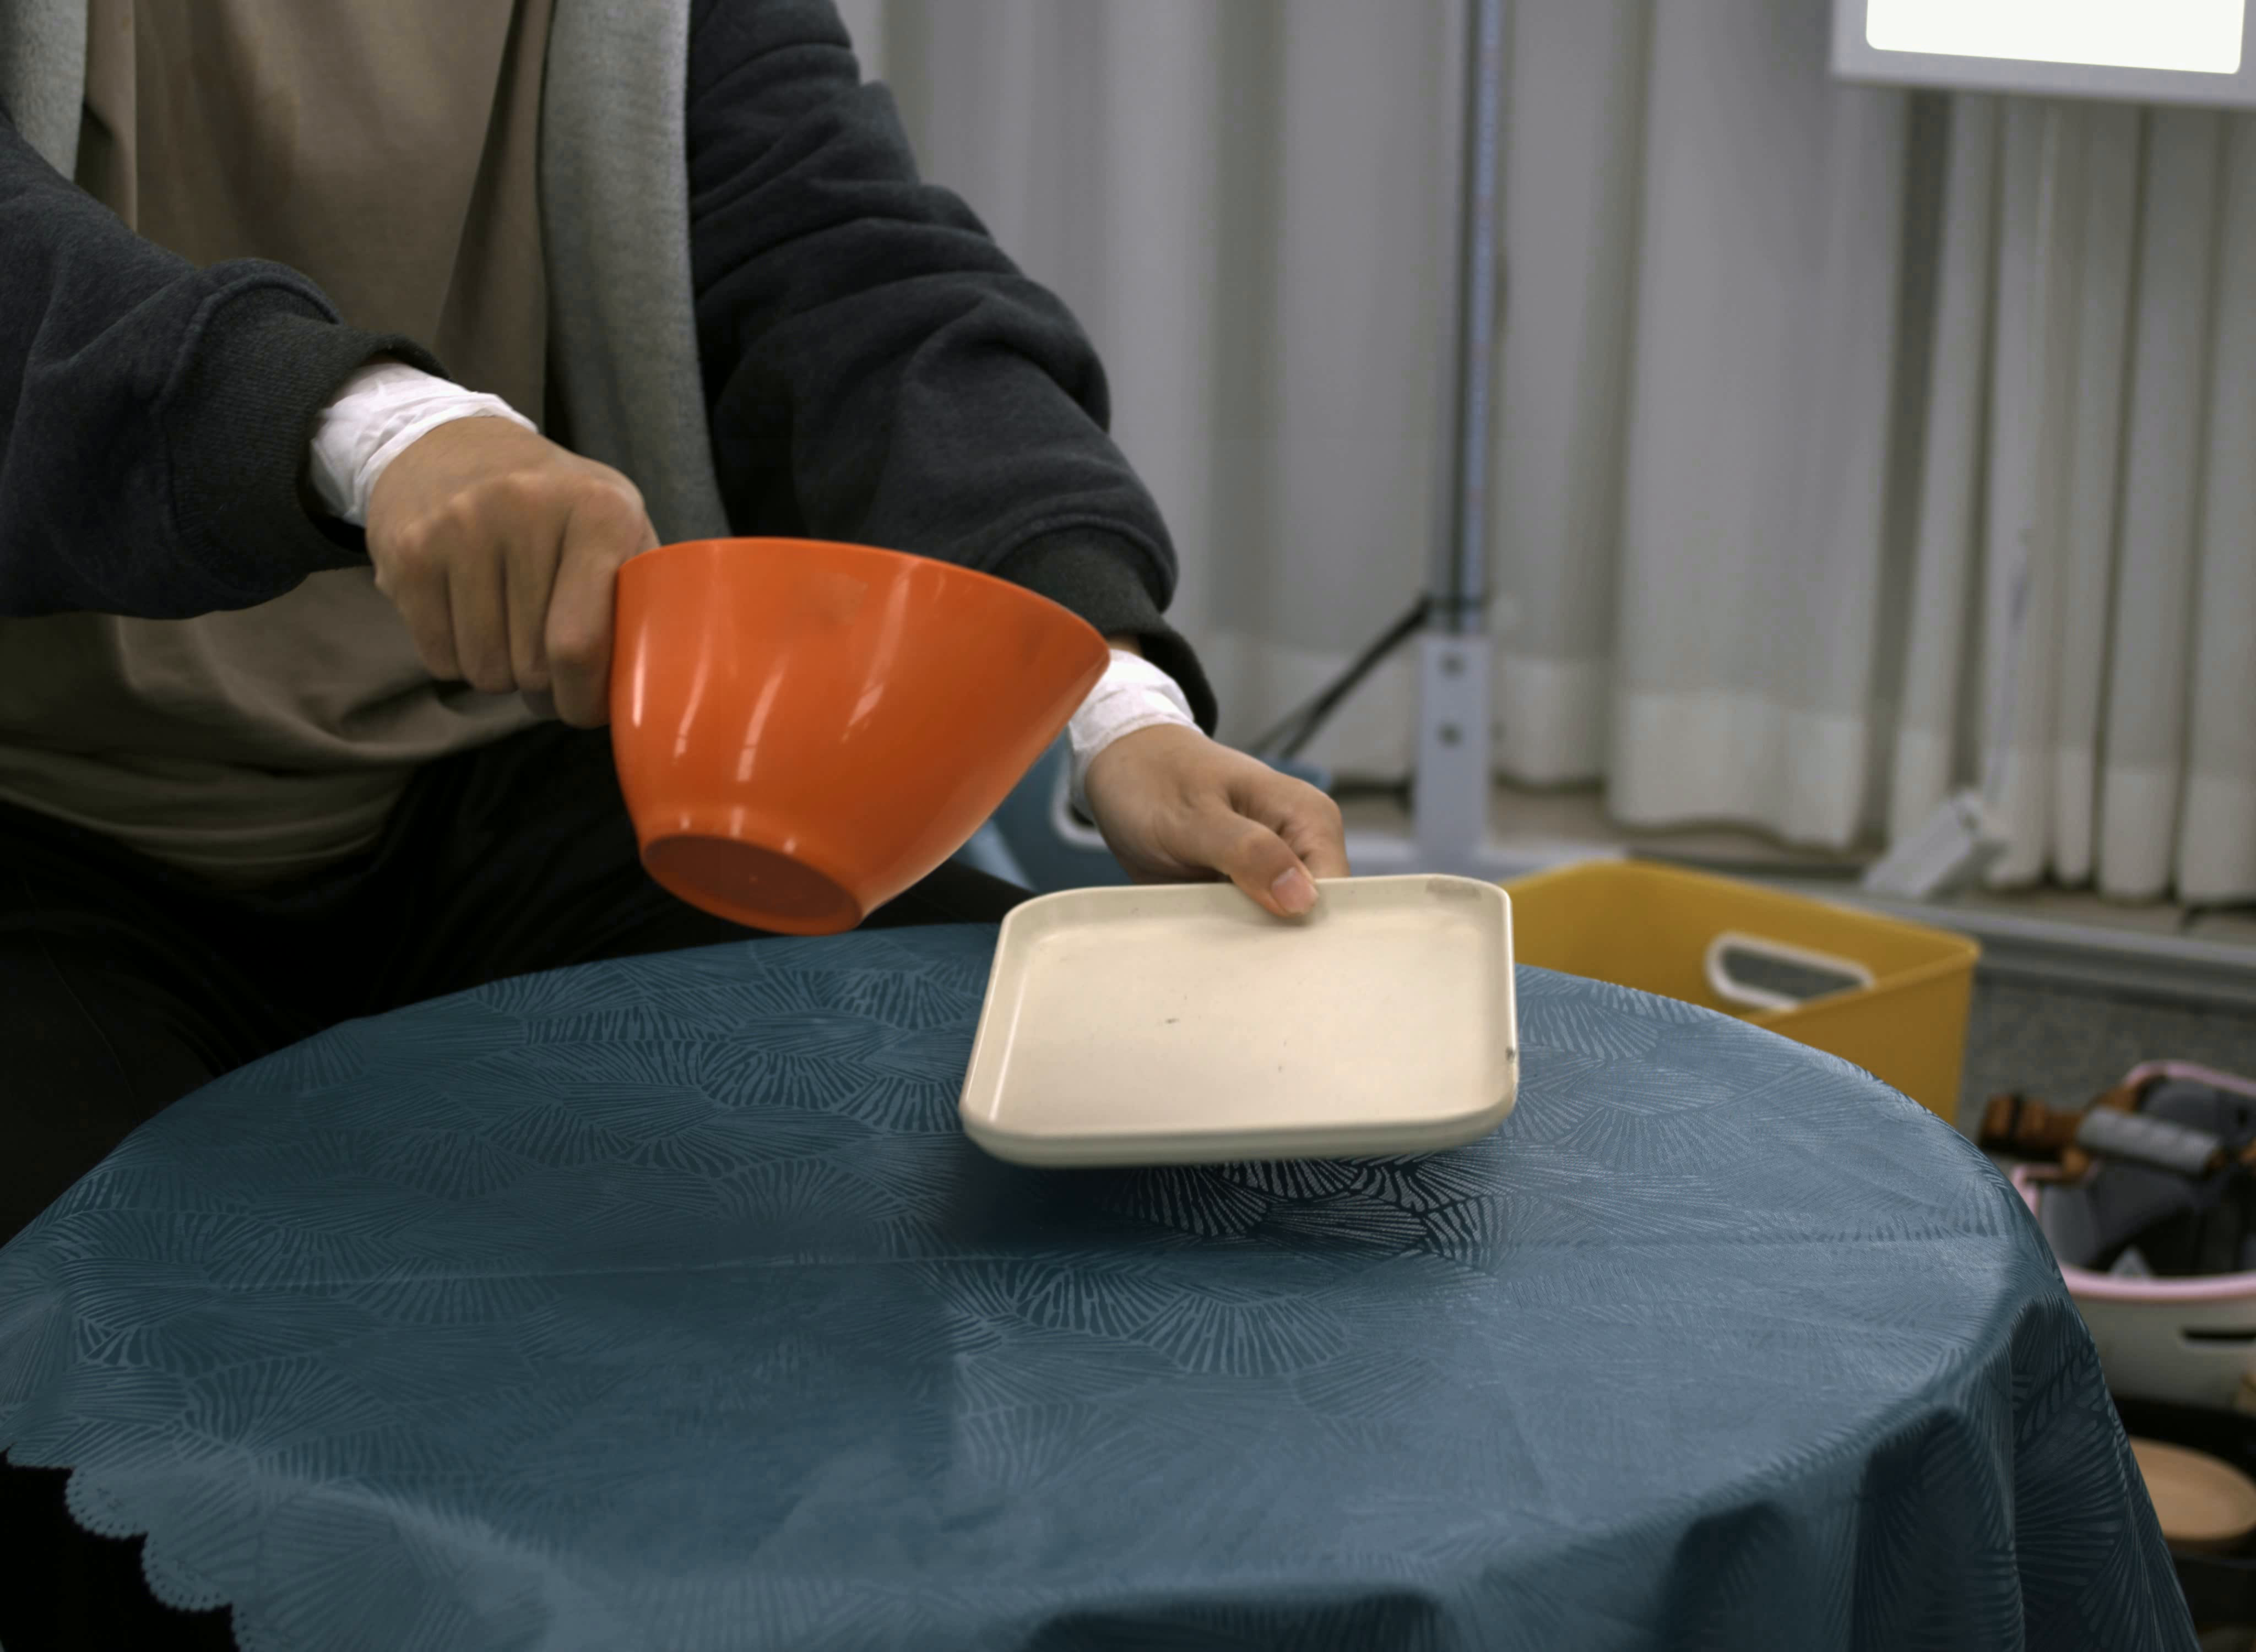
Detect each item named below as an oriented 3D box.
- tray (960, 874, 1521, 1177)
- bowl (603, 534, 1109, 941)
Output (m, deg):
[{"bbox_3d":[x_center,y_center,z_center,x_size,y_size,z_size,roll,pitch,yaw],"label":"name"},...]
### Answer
[{"bbox_3d":[0.038,0.062,1.667,0.170,0.017,0.238,-3,17,4],"label":"tray"},{"bbox_3d":[-0.089,-0.022,1.529,0.147,0.104,0.149,14,-21,6],"label":"bowl"}]
